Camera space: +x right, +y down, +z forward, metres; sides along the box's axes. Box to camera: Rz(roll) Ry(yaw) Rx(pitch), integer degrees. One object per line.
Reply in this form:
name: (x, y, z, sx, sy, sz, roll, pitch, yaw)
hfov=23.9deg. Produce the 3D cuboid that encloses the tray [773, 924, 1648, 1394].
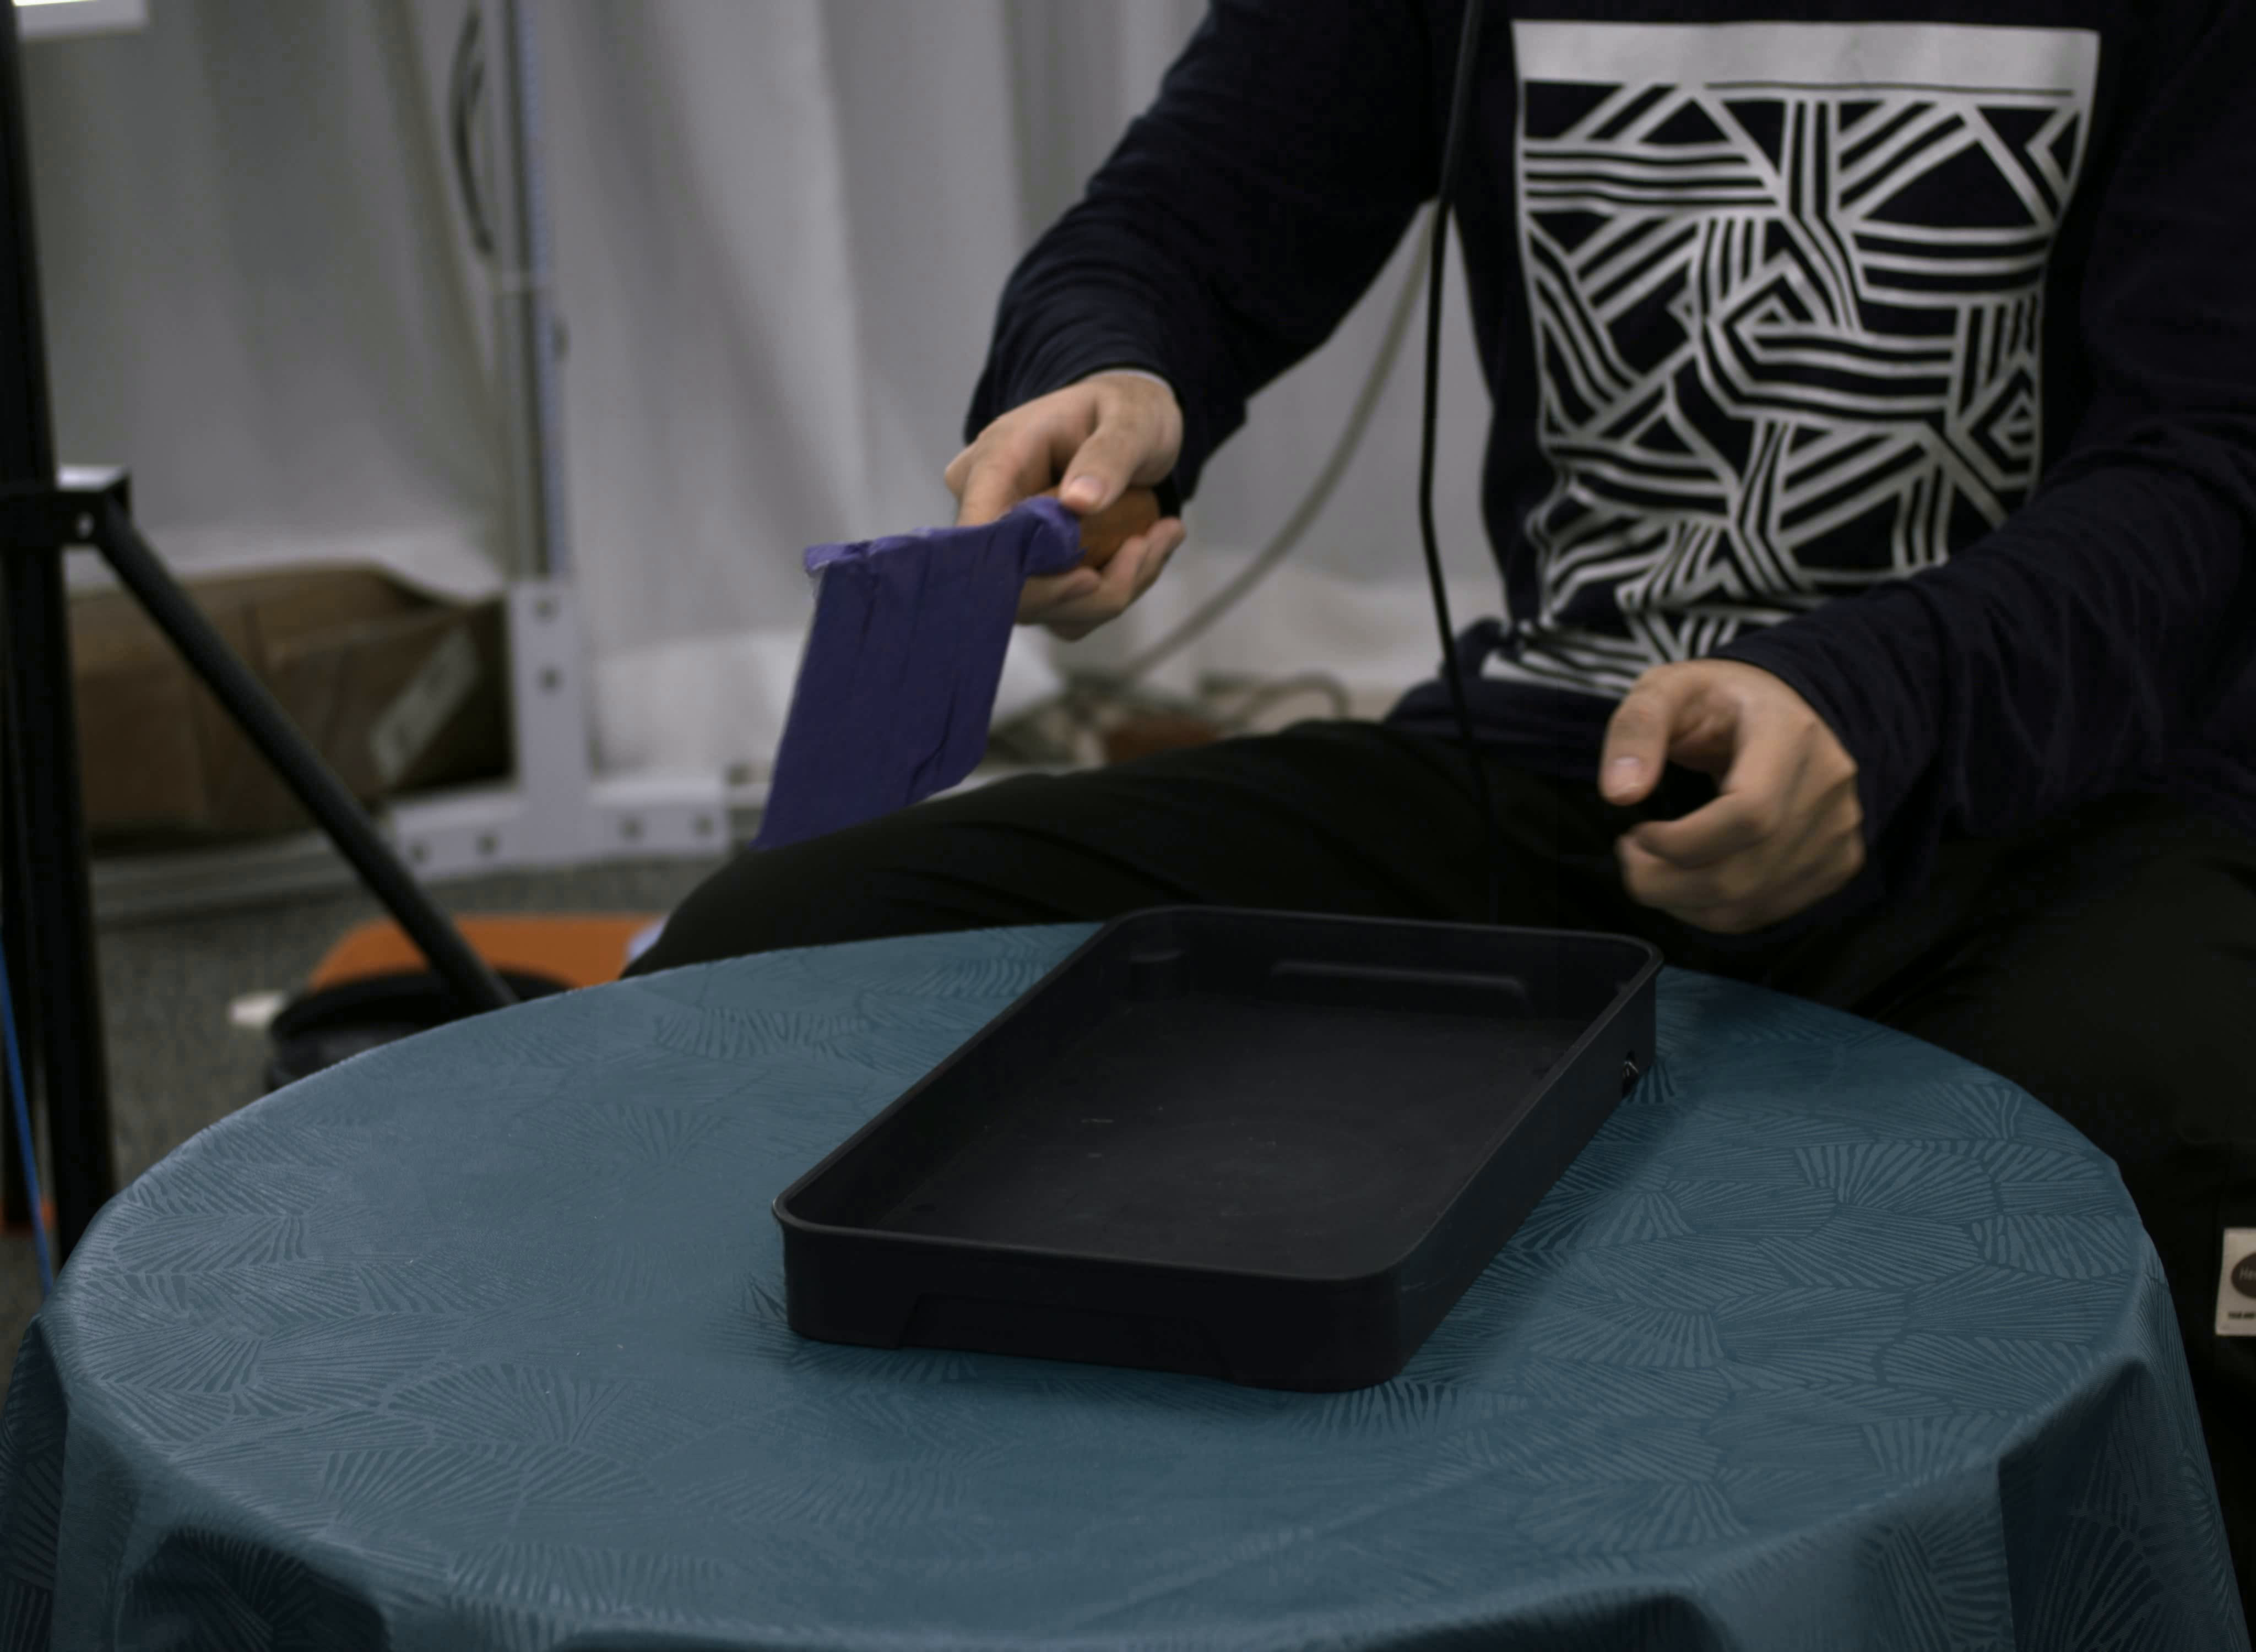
tray: (0.033, 0.091, 1.557, 0.186, 0.037, 0.314, 3, 15, 19)

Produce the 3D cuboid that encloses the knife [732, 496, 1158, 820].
knife: (-0.059, -0.054, 1.668, 0.032, 0.104, 0.310, 18, 11, 17)
